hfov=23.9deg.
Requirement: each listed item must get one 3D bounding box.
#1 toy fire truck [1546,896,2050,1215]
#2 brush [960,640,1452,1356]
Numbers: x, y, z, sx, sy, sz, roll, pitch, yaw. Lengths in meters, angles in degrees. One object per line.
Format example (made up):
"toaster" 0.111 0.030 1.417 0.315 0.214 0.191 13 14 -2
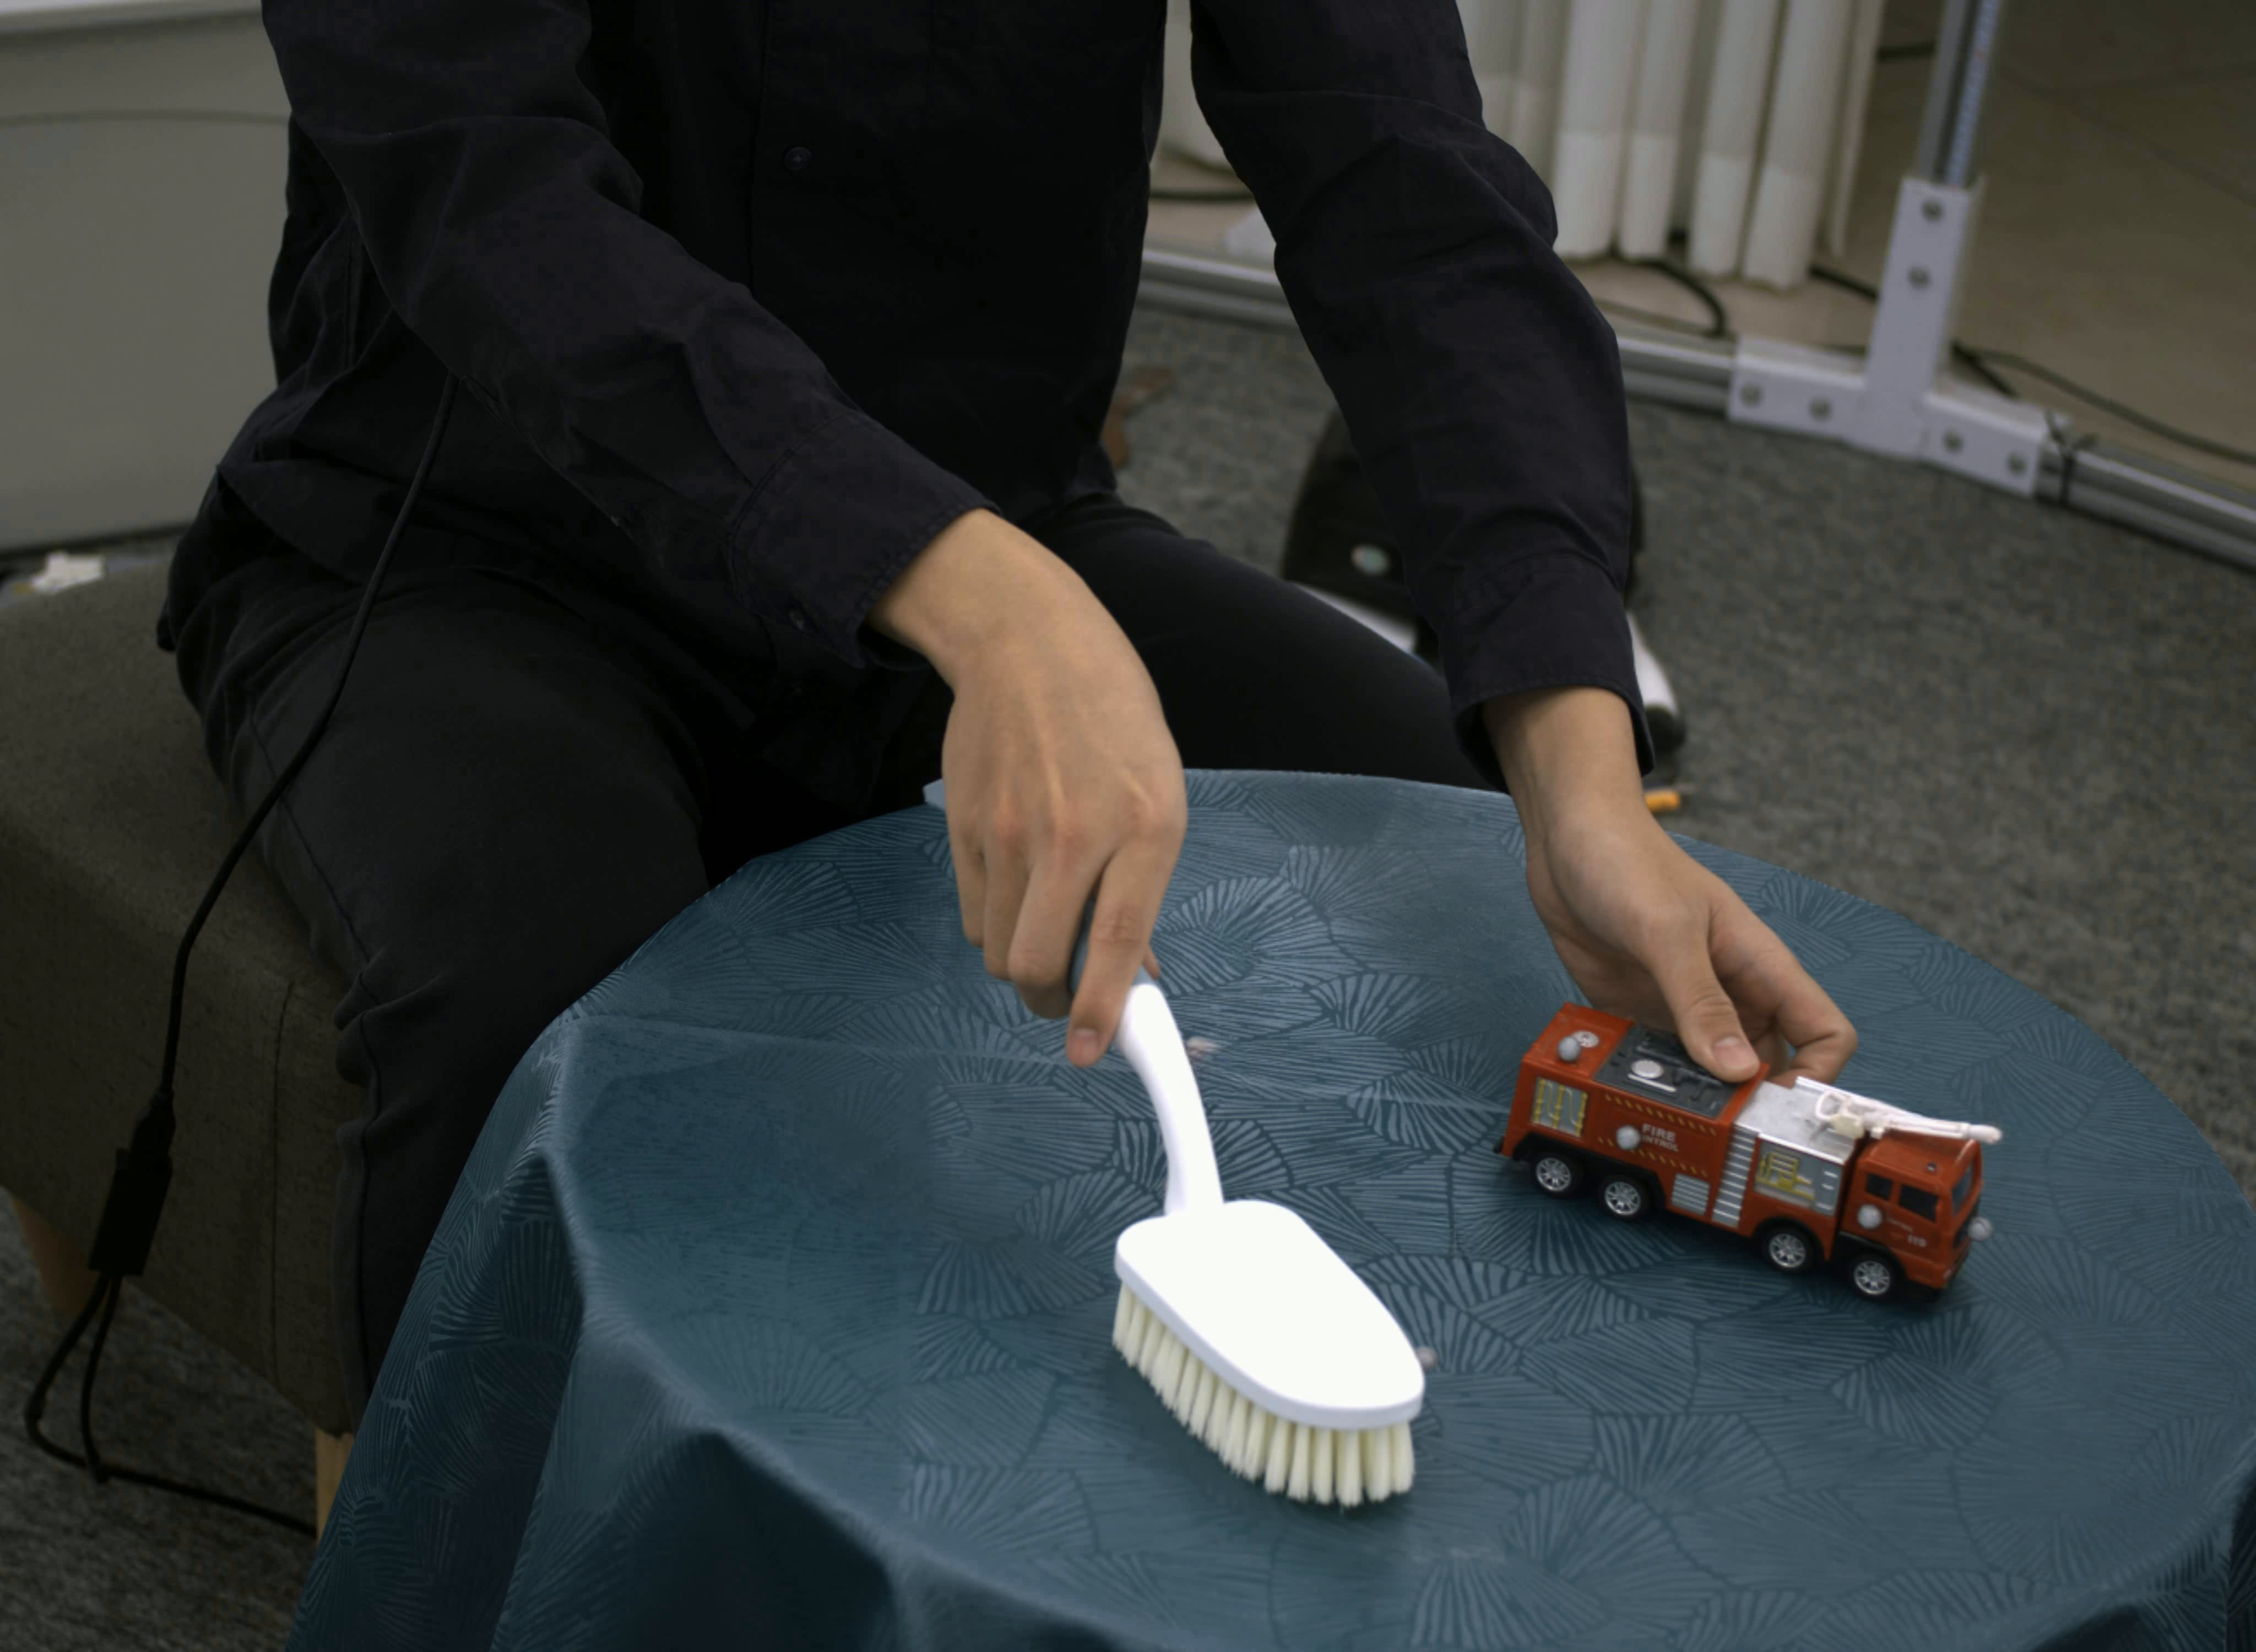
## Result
"toy fire truck" 0.230 0.076 1.822 0.168 0.070 0.054 16 31 19
"brush" 0.019 0.064 1.773 0.082 0.084 0.328 31 18 -48
